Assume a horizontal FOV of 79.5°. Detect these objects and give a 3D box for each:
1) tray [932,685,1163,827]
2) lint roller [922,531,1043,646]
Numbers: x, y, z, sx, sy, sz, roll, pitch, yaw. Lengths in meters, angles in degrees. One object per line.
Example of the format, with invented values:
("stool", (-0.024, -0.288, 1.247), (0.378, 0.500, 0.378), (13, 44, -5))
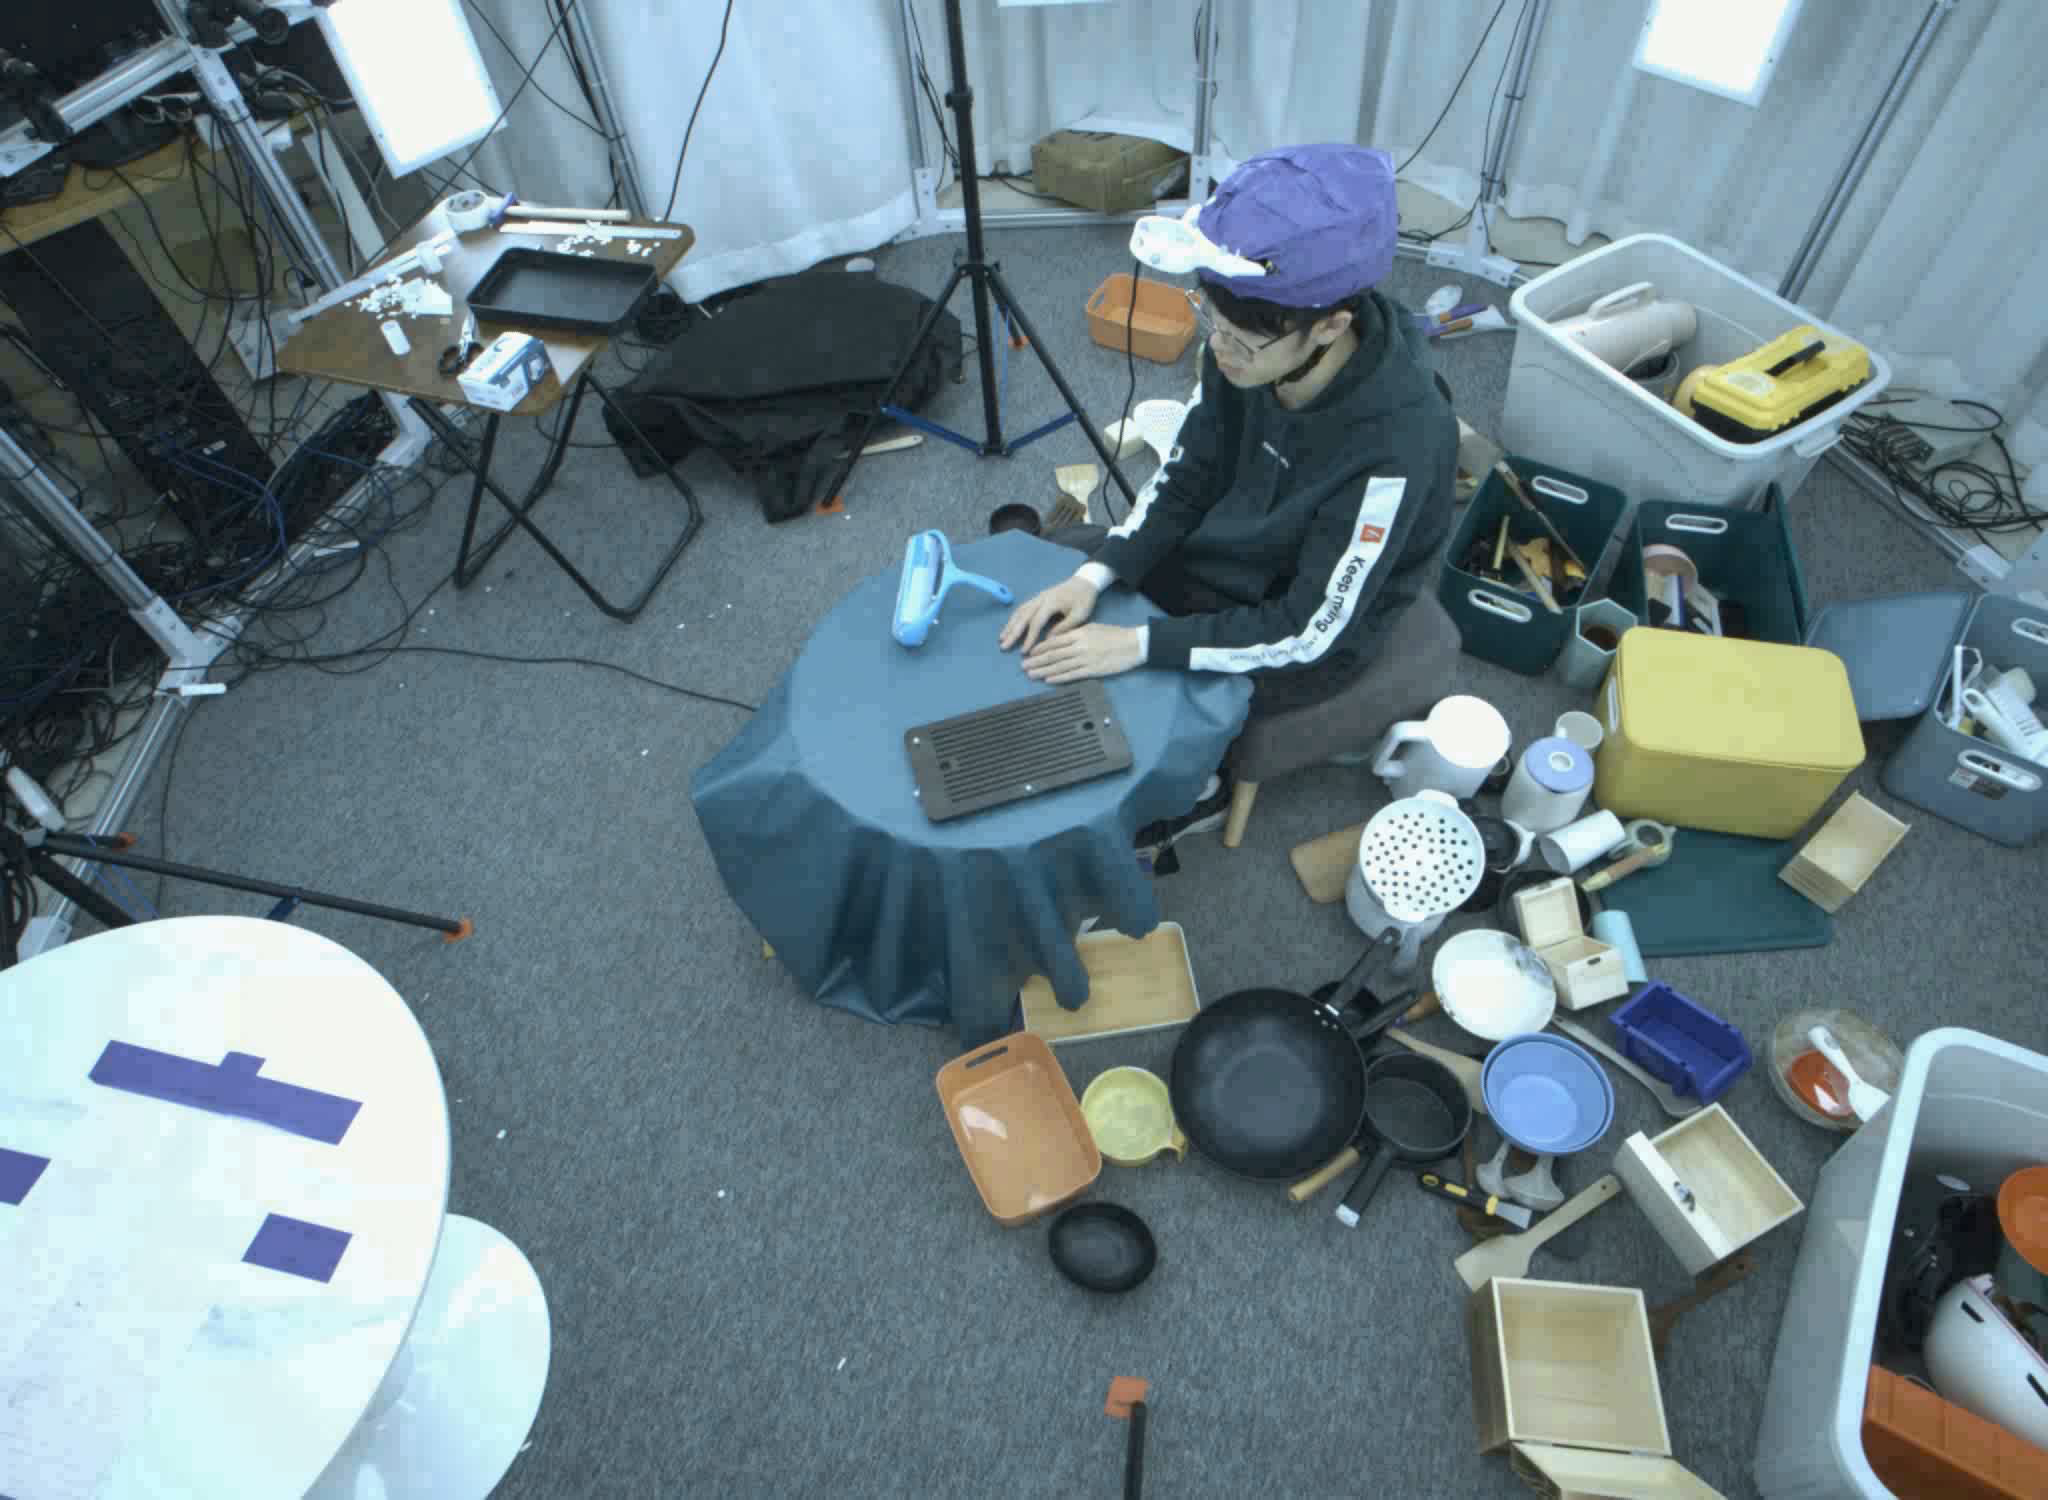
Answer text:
("tray", (0.032, 0.008, 1.765), (0.307, 0.019, 0.167), (-14, 55, -8))
("lint roller", (-0.062, -0.256, 1.931), (0.180, 0.069, 0.227), (0, 53, 4))
